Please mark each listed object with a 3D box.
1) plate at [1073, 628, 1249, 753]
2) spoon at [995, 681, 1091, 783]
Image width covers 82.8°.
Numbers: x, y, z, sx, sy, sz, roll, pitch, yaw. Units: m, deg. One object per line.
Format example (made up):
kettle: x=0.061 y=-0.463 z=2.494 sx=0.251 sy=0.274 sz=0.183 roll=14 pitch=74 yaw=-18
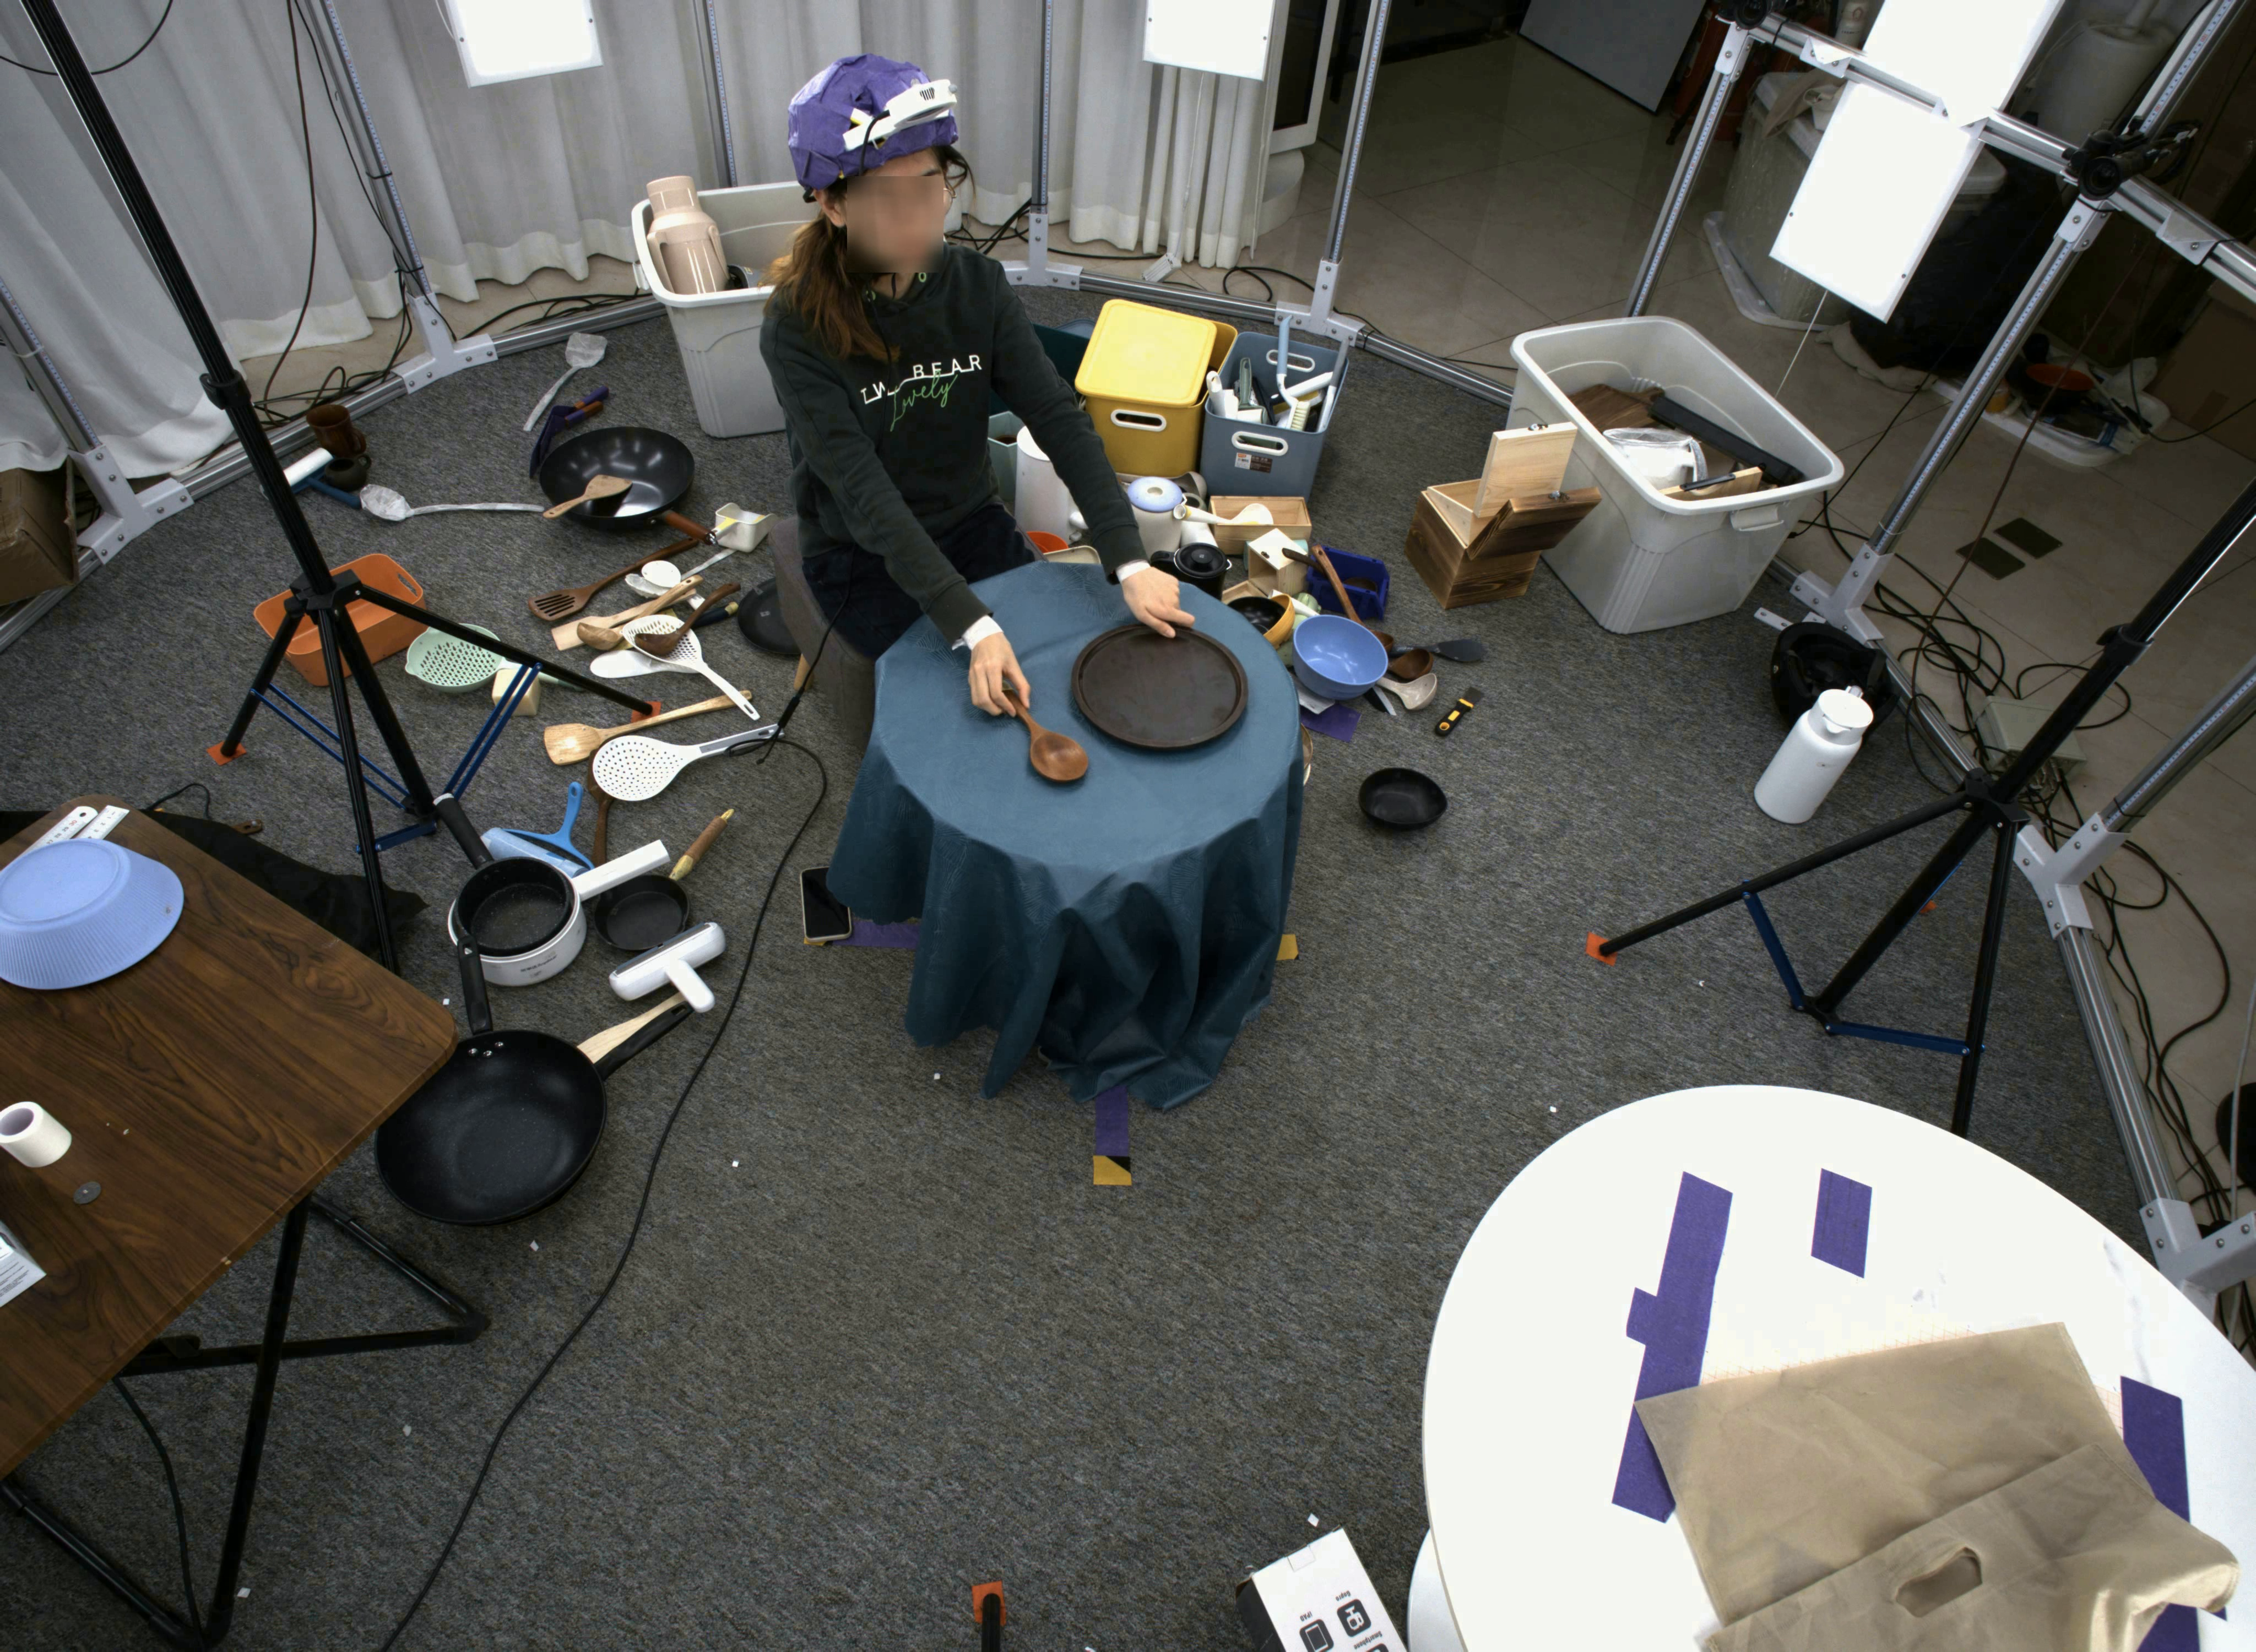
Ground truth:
plate: x=0.047 y=-0.198 z=1.845 sx=0.254 sy=0.028 sz=0.261 roll=3 pitch=49 yaw=-3
spoon: x=-0.126 y=-0.132 z=1.779 sx=0.076 sy=0.017 sz=0.220 roll=-24 pitch=54 yaw=-22
